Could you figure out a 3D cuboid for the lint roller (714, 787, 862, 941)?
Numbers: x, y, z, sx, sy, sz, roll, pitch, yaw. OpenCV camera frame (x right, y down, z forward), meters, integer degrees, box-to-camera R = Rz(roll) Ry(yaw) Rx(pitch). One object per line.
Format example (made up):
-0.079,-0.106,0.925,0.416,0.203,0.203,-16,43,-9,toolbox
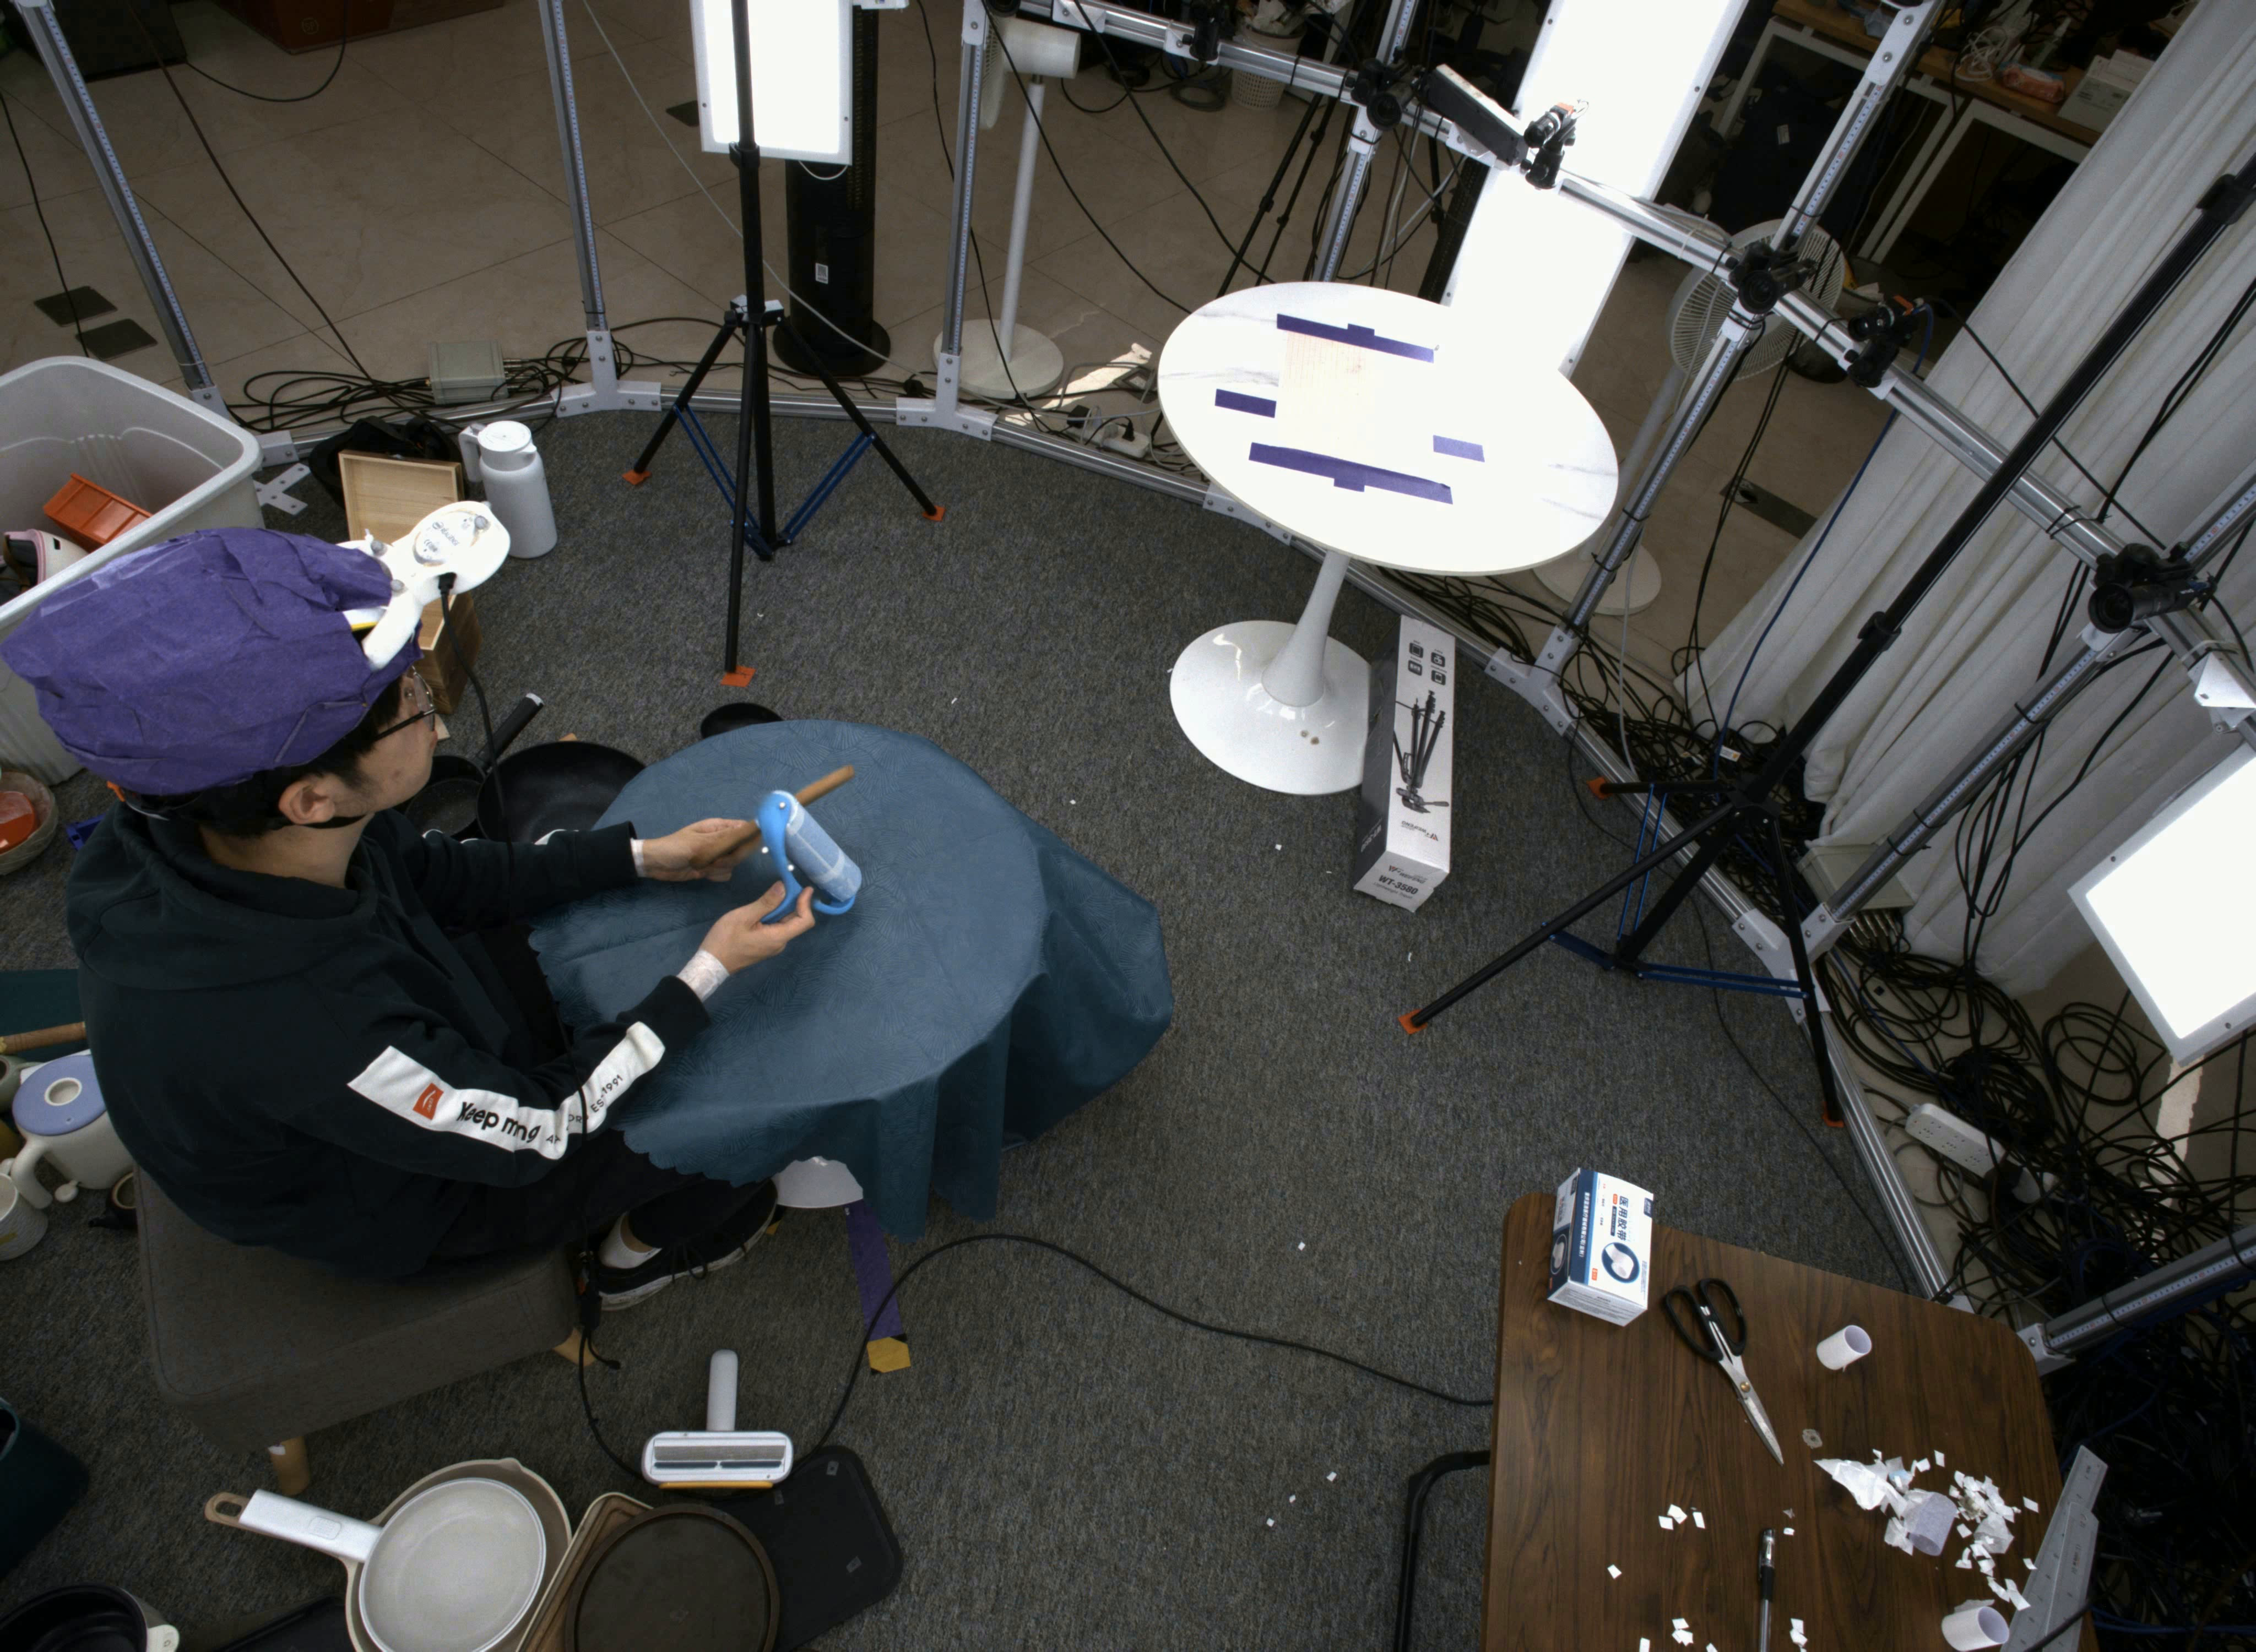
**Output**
-0.414,0.072,1.540,0.066,0.236,0.180,28,76,24,lint roller

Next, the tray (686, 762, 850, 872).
-0.442,-0.013,1.597,0.231,0.101,0.020,-36,92,-19,tray
